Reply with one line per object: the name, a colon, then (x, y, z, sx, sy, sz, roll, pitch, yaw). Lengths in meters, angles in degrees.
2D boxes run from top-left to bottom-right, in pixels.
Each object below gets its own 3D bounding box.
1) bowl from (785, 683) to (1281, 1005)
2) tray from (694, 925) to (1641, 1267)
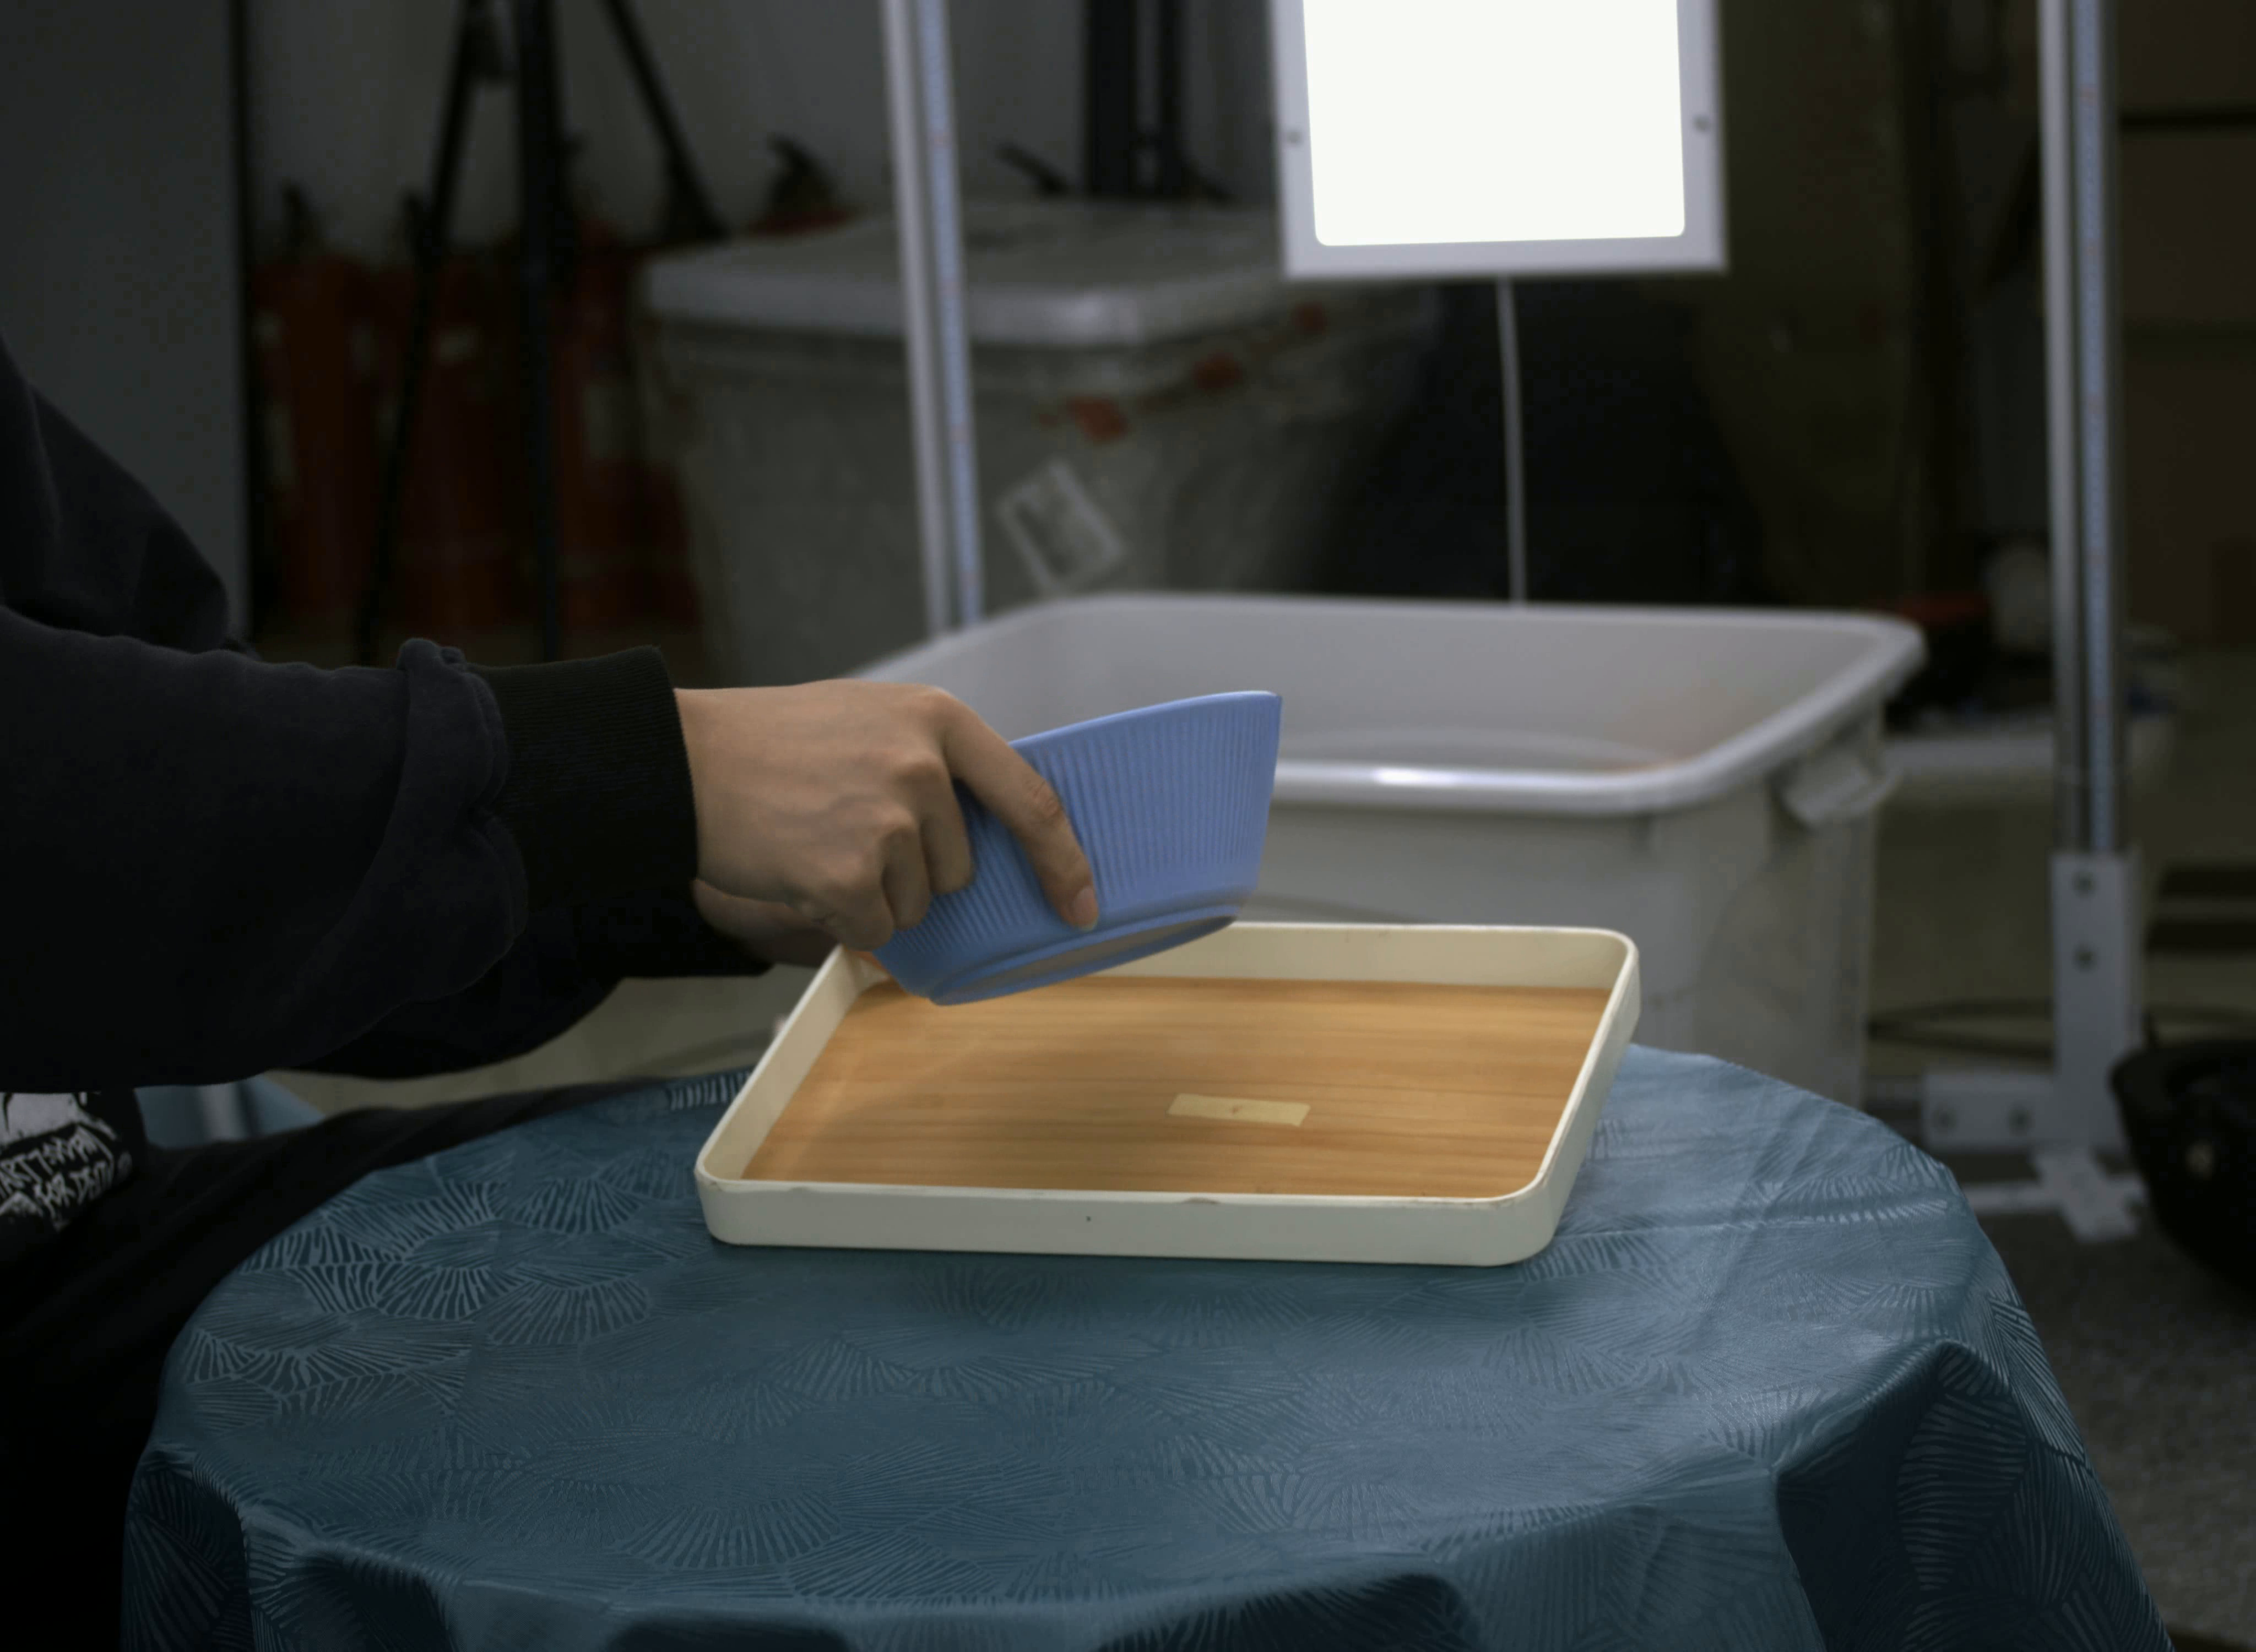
bowl: (-0.023, 0.011, 1.848, 0.175, 0.070, 0.176, -15, -8, -4)
tray: (0.017, 0.090, 1.903, 0.304, 0.027, 0.189, 0, 28, 19)
